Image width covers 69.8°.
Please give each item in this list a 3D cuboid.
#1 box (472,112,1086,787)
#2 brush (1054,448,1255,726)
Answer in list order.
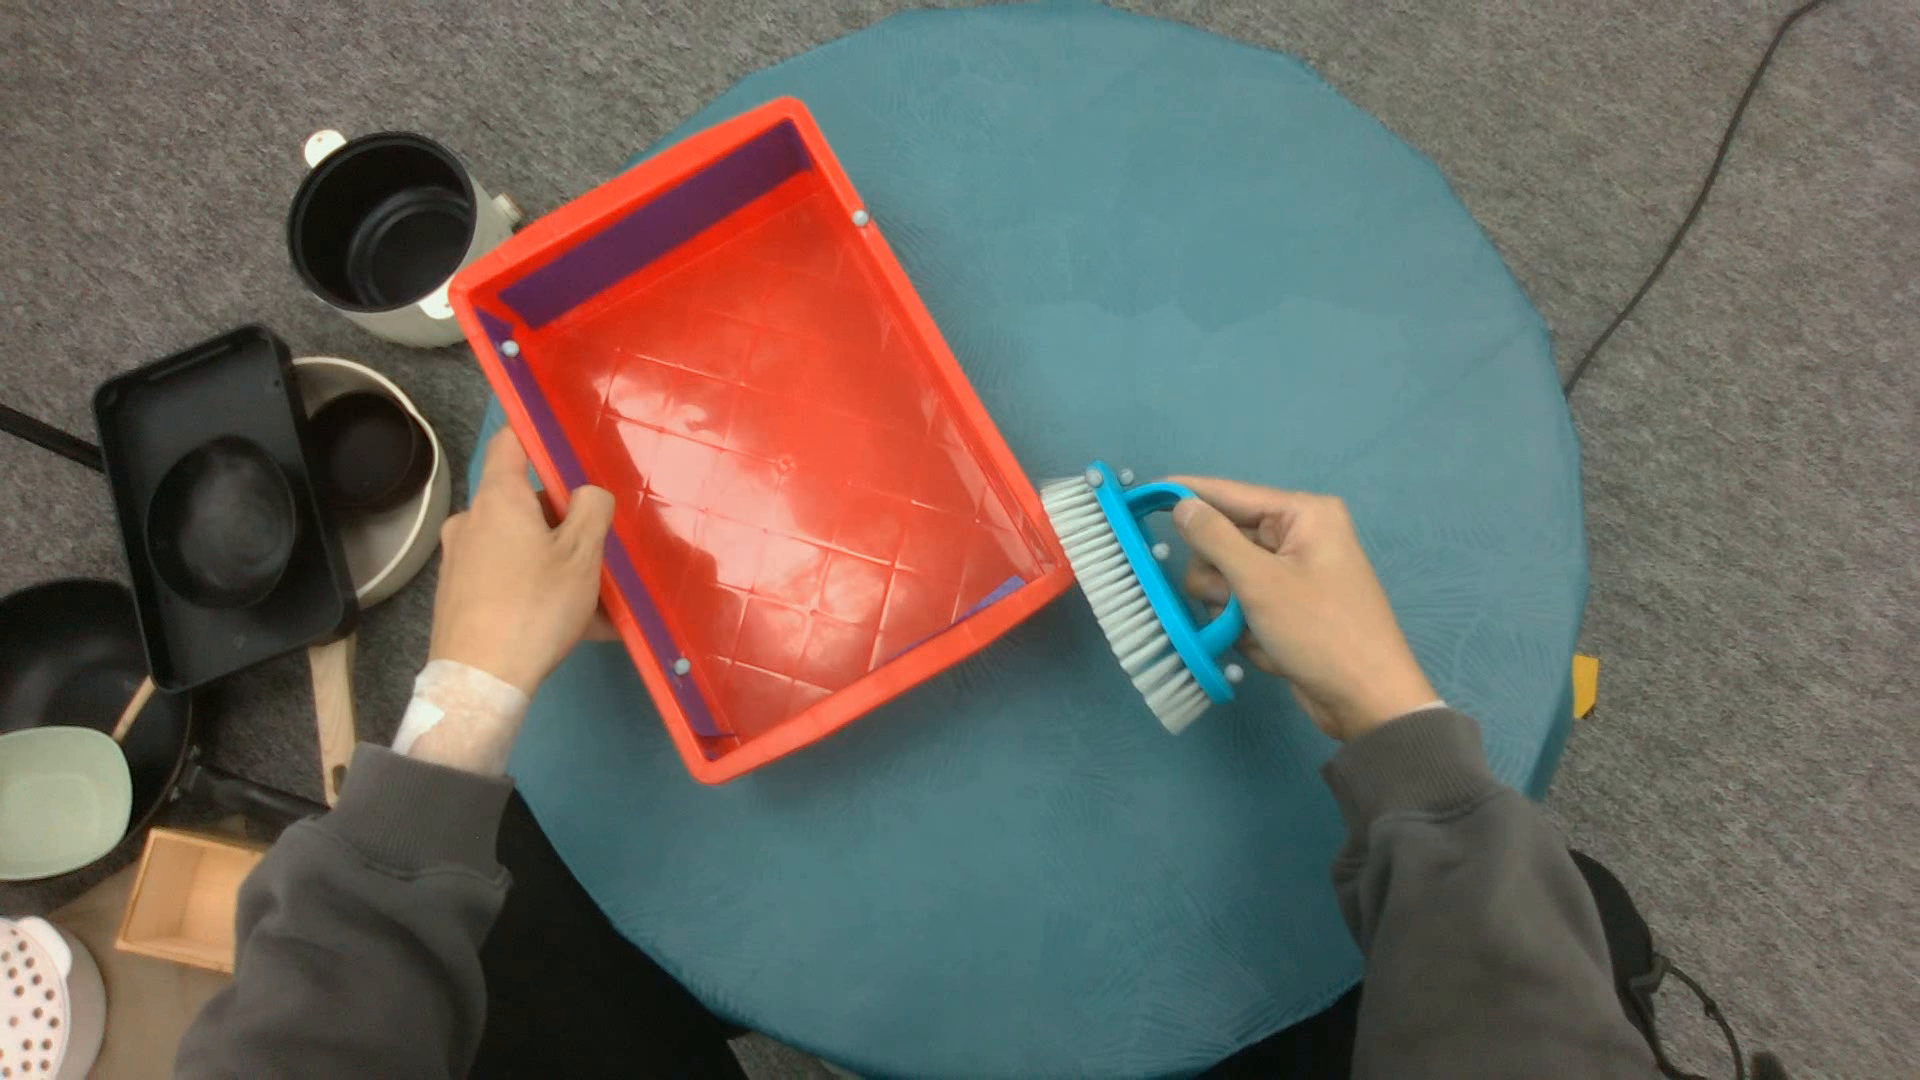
[{"bbox_3d":[-0.092,-0.044,0.725,0.206,0.096,0.304,-29,76,-2],"label":"box"},{"bbox_3d":[0.098,0.015,0.650,0.063,0.084,0.142,-28,52,10],"label":"brush"}]
